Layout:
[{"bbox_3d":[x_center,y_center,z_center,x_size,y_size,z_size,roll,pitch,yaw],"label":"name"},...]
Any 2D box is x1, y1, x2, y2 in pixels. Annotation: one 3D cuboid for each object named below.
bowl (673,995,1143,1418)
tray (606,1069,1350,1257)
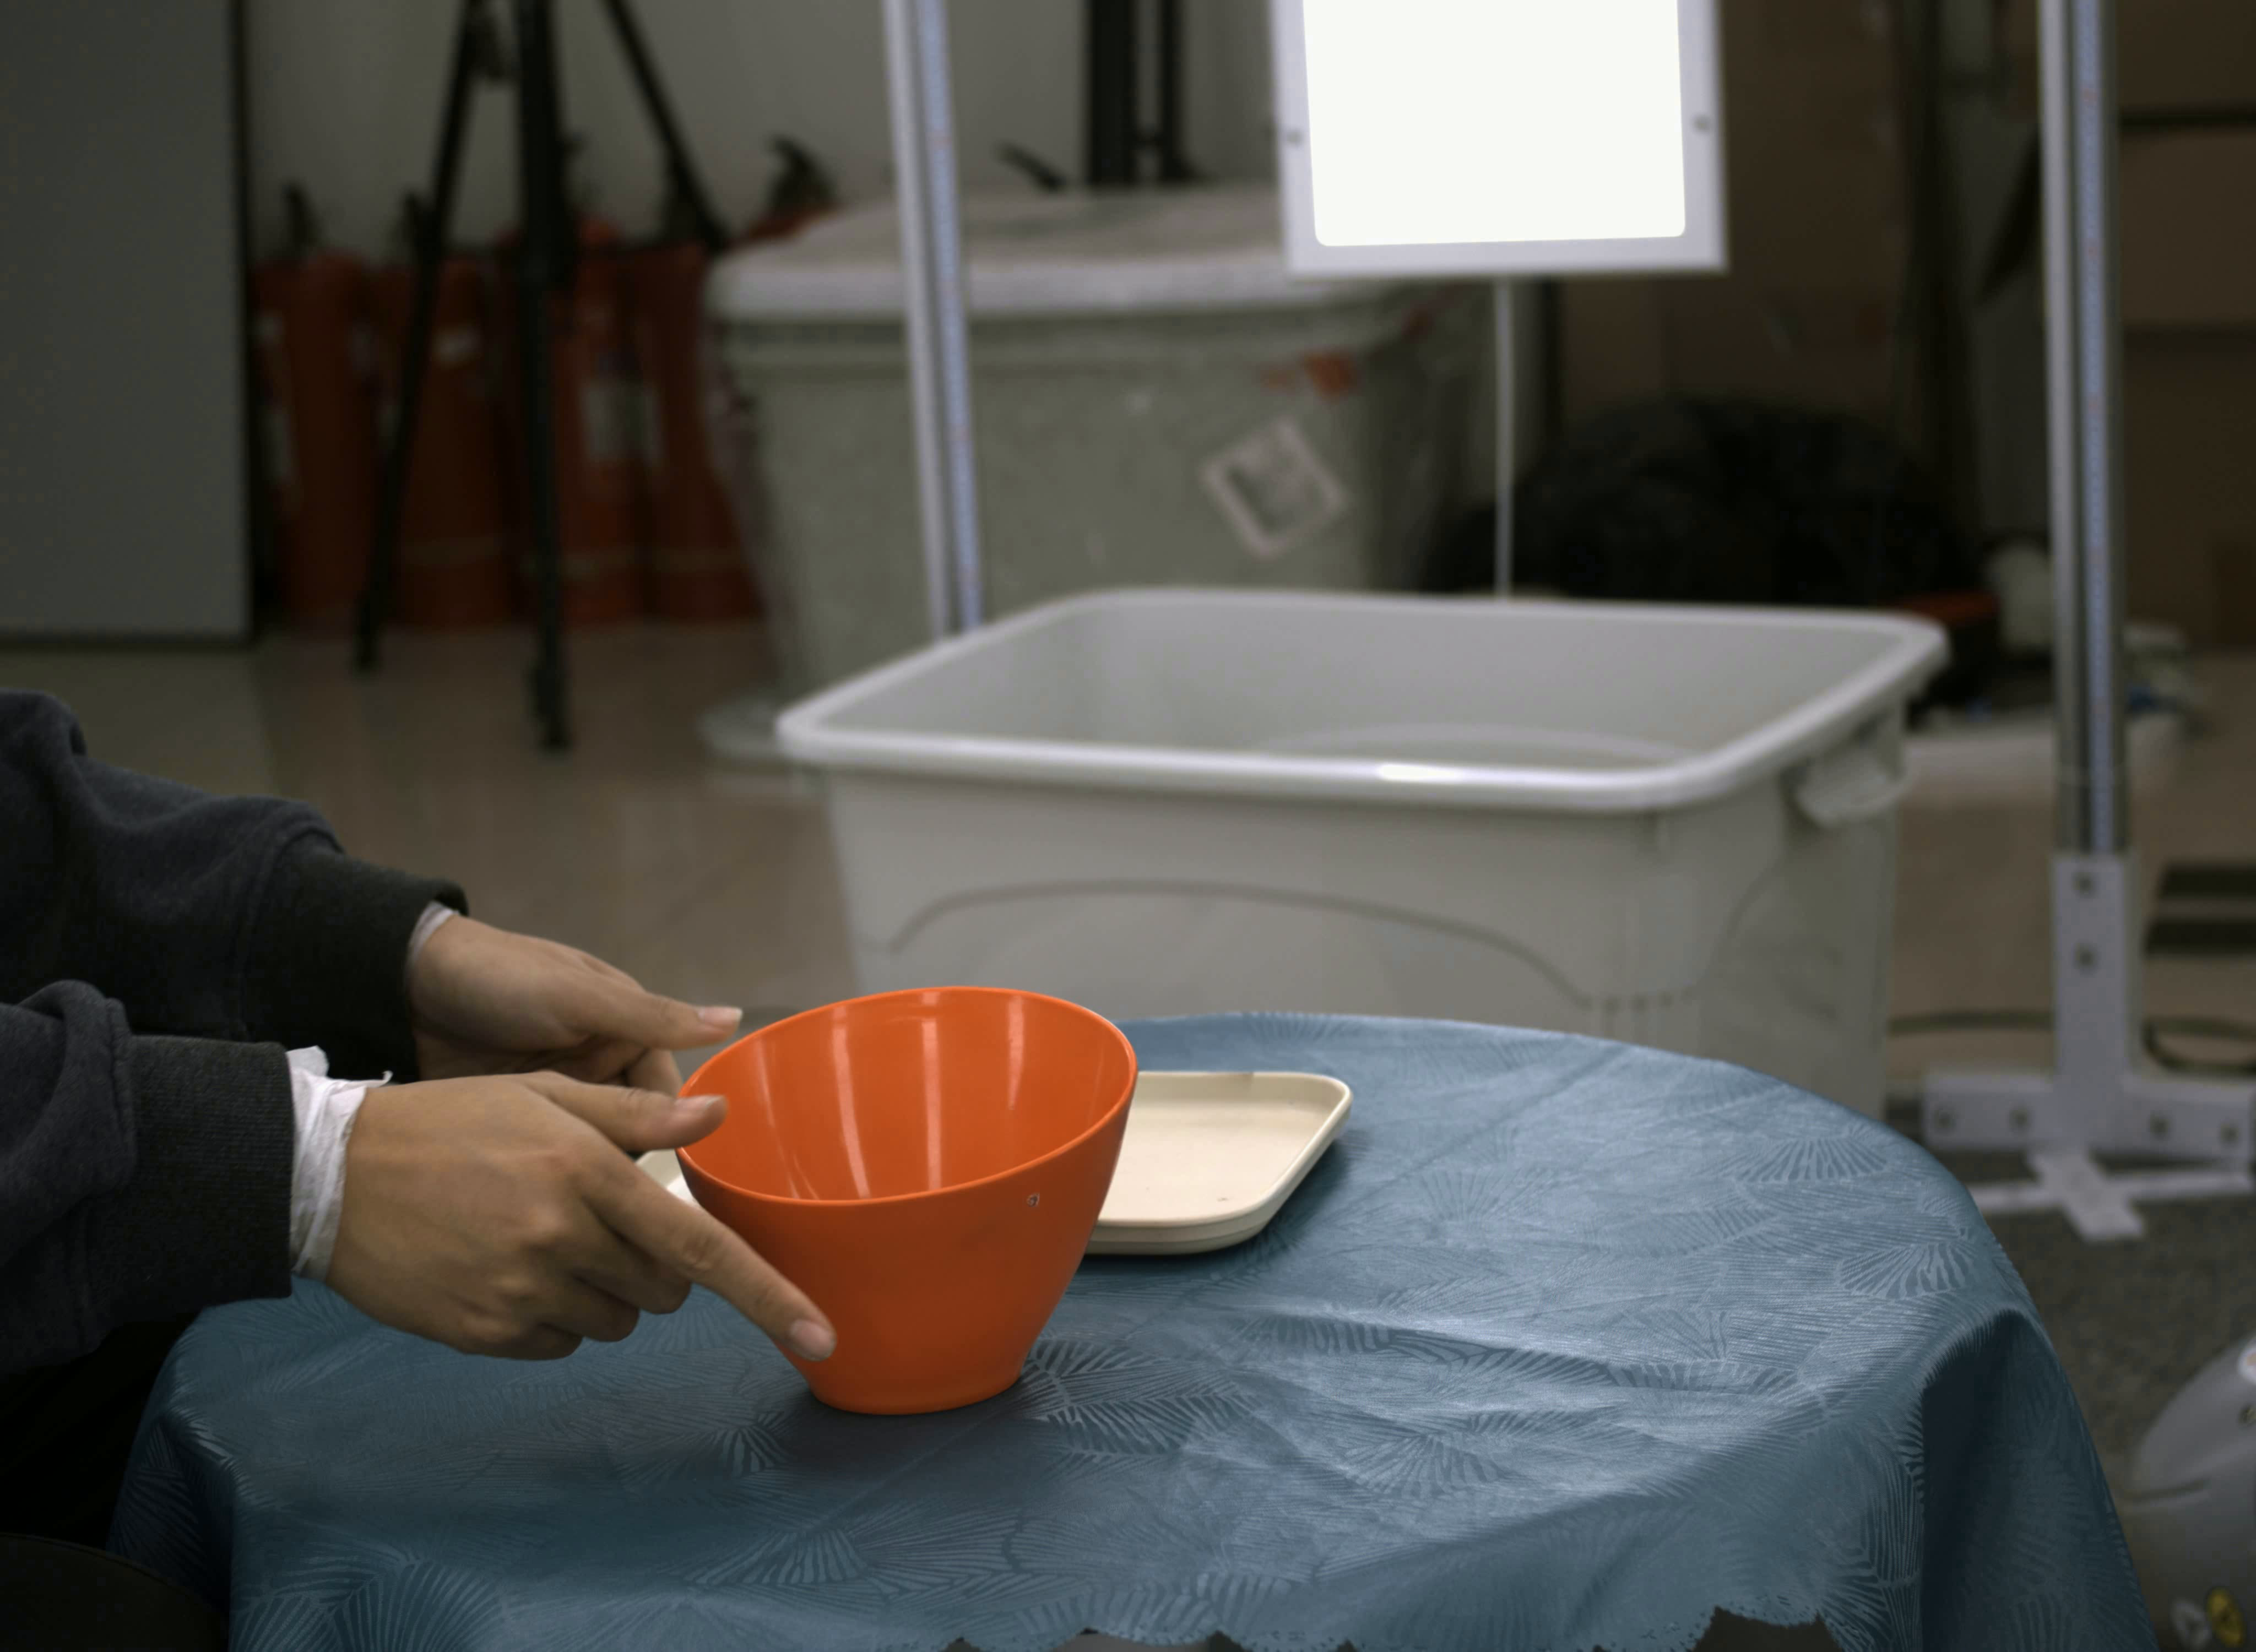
[{"bbox_3d":[-0.067,0.122,1.726,0.147,0.105,0.148,-3,13,-1],"label":"bowl"},{"bbox_3d":[-0.050,0.117,1.918,0.242,0.017,0.168,0,15,18],"label":"tray"}]
